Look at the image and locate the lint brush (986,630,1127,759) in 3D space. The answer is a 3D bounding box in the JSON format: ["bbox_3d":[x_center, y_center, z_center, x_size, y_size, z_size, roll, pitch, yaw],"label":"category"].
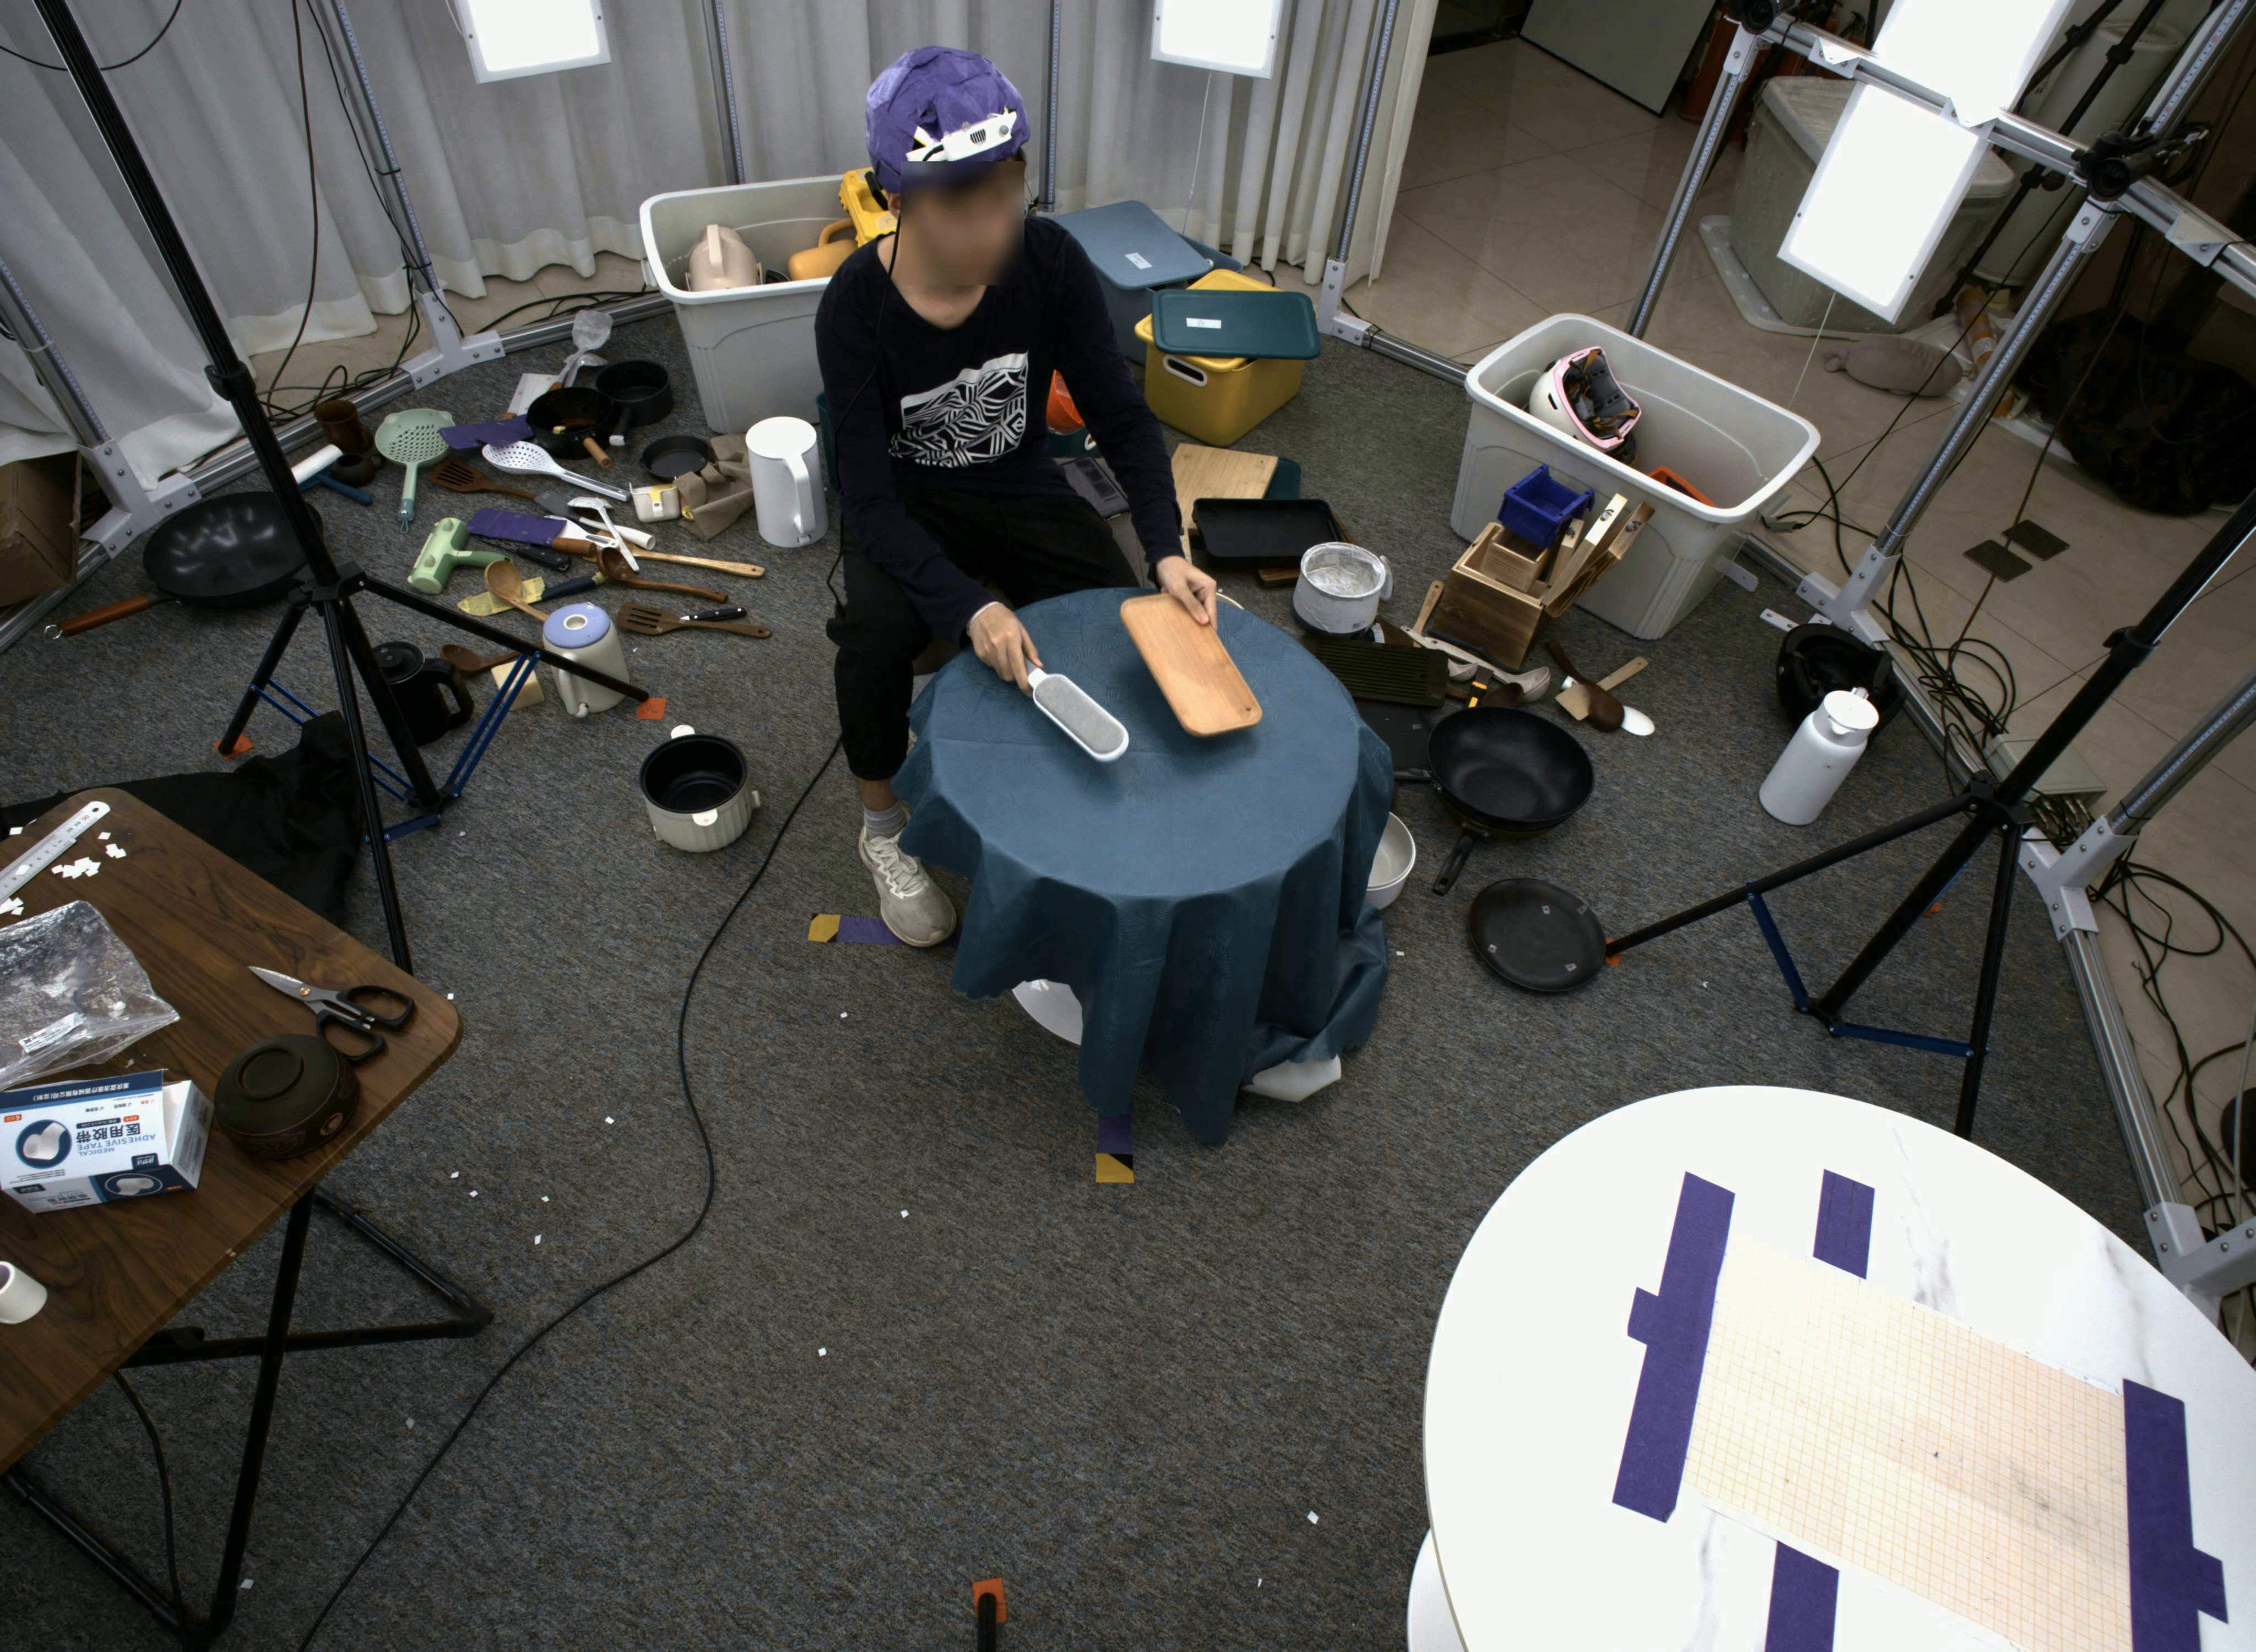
[{"bbox_3d":[-0.104,-0.188,1.763,0.060,0.020,0.315,-45,55,-2],"label":"lint brush"}]

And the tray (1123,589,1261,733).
[{"bbox_3d":[0.086,-0.234,1.797,0.130,0.022,0.256,-8,57,-28],"label":"tray"}]
